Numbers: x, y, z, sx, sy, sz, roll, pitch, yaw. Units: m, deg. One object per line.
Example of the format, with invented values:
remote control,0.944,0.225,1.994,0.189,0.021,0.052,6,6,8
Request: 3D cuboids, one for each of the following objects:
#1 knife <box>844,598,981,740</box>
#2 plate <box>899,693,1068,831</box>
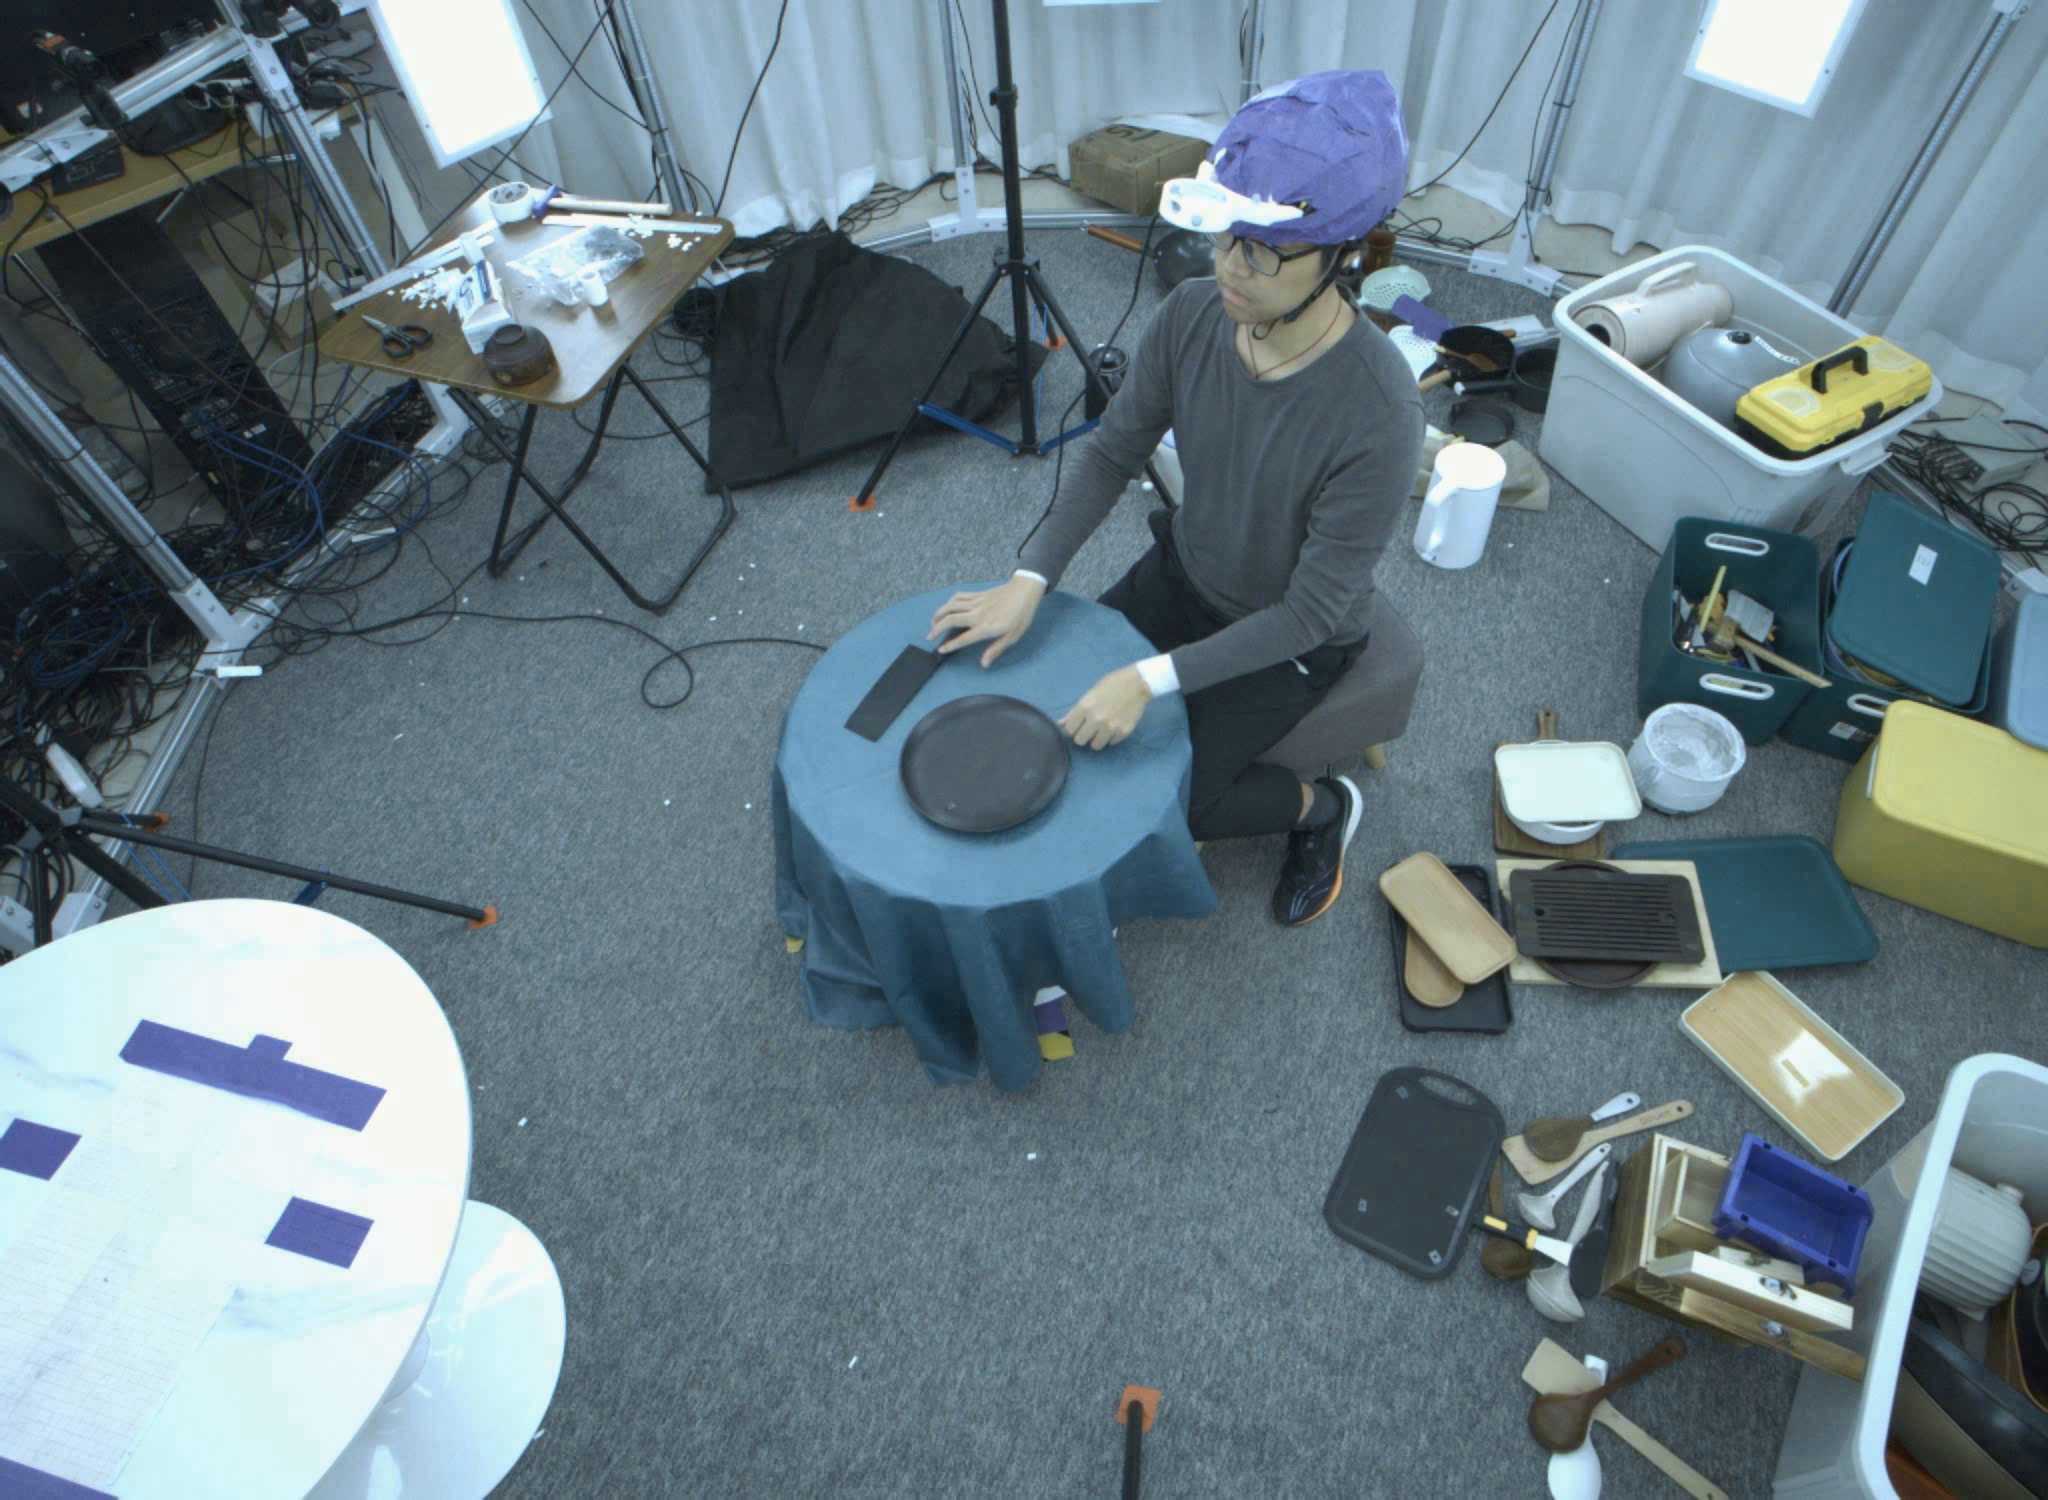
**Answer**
knife,-0.165,-0.131,1.885,0.079,0.021,0.303,30,62,21
plate,-0.058,0.019,1.769,0.244,0.023,0.242,0,54,1
